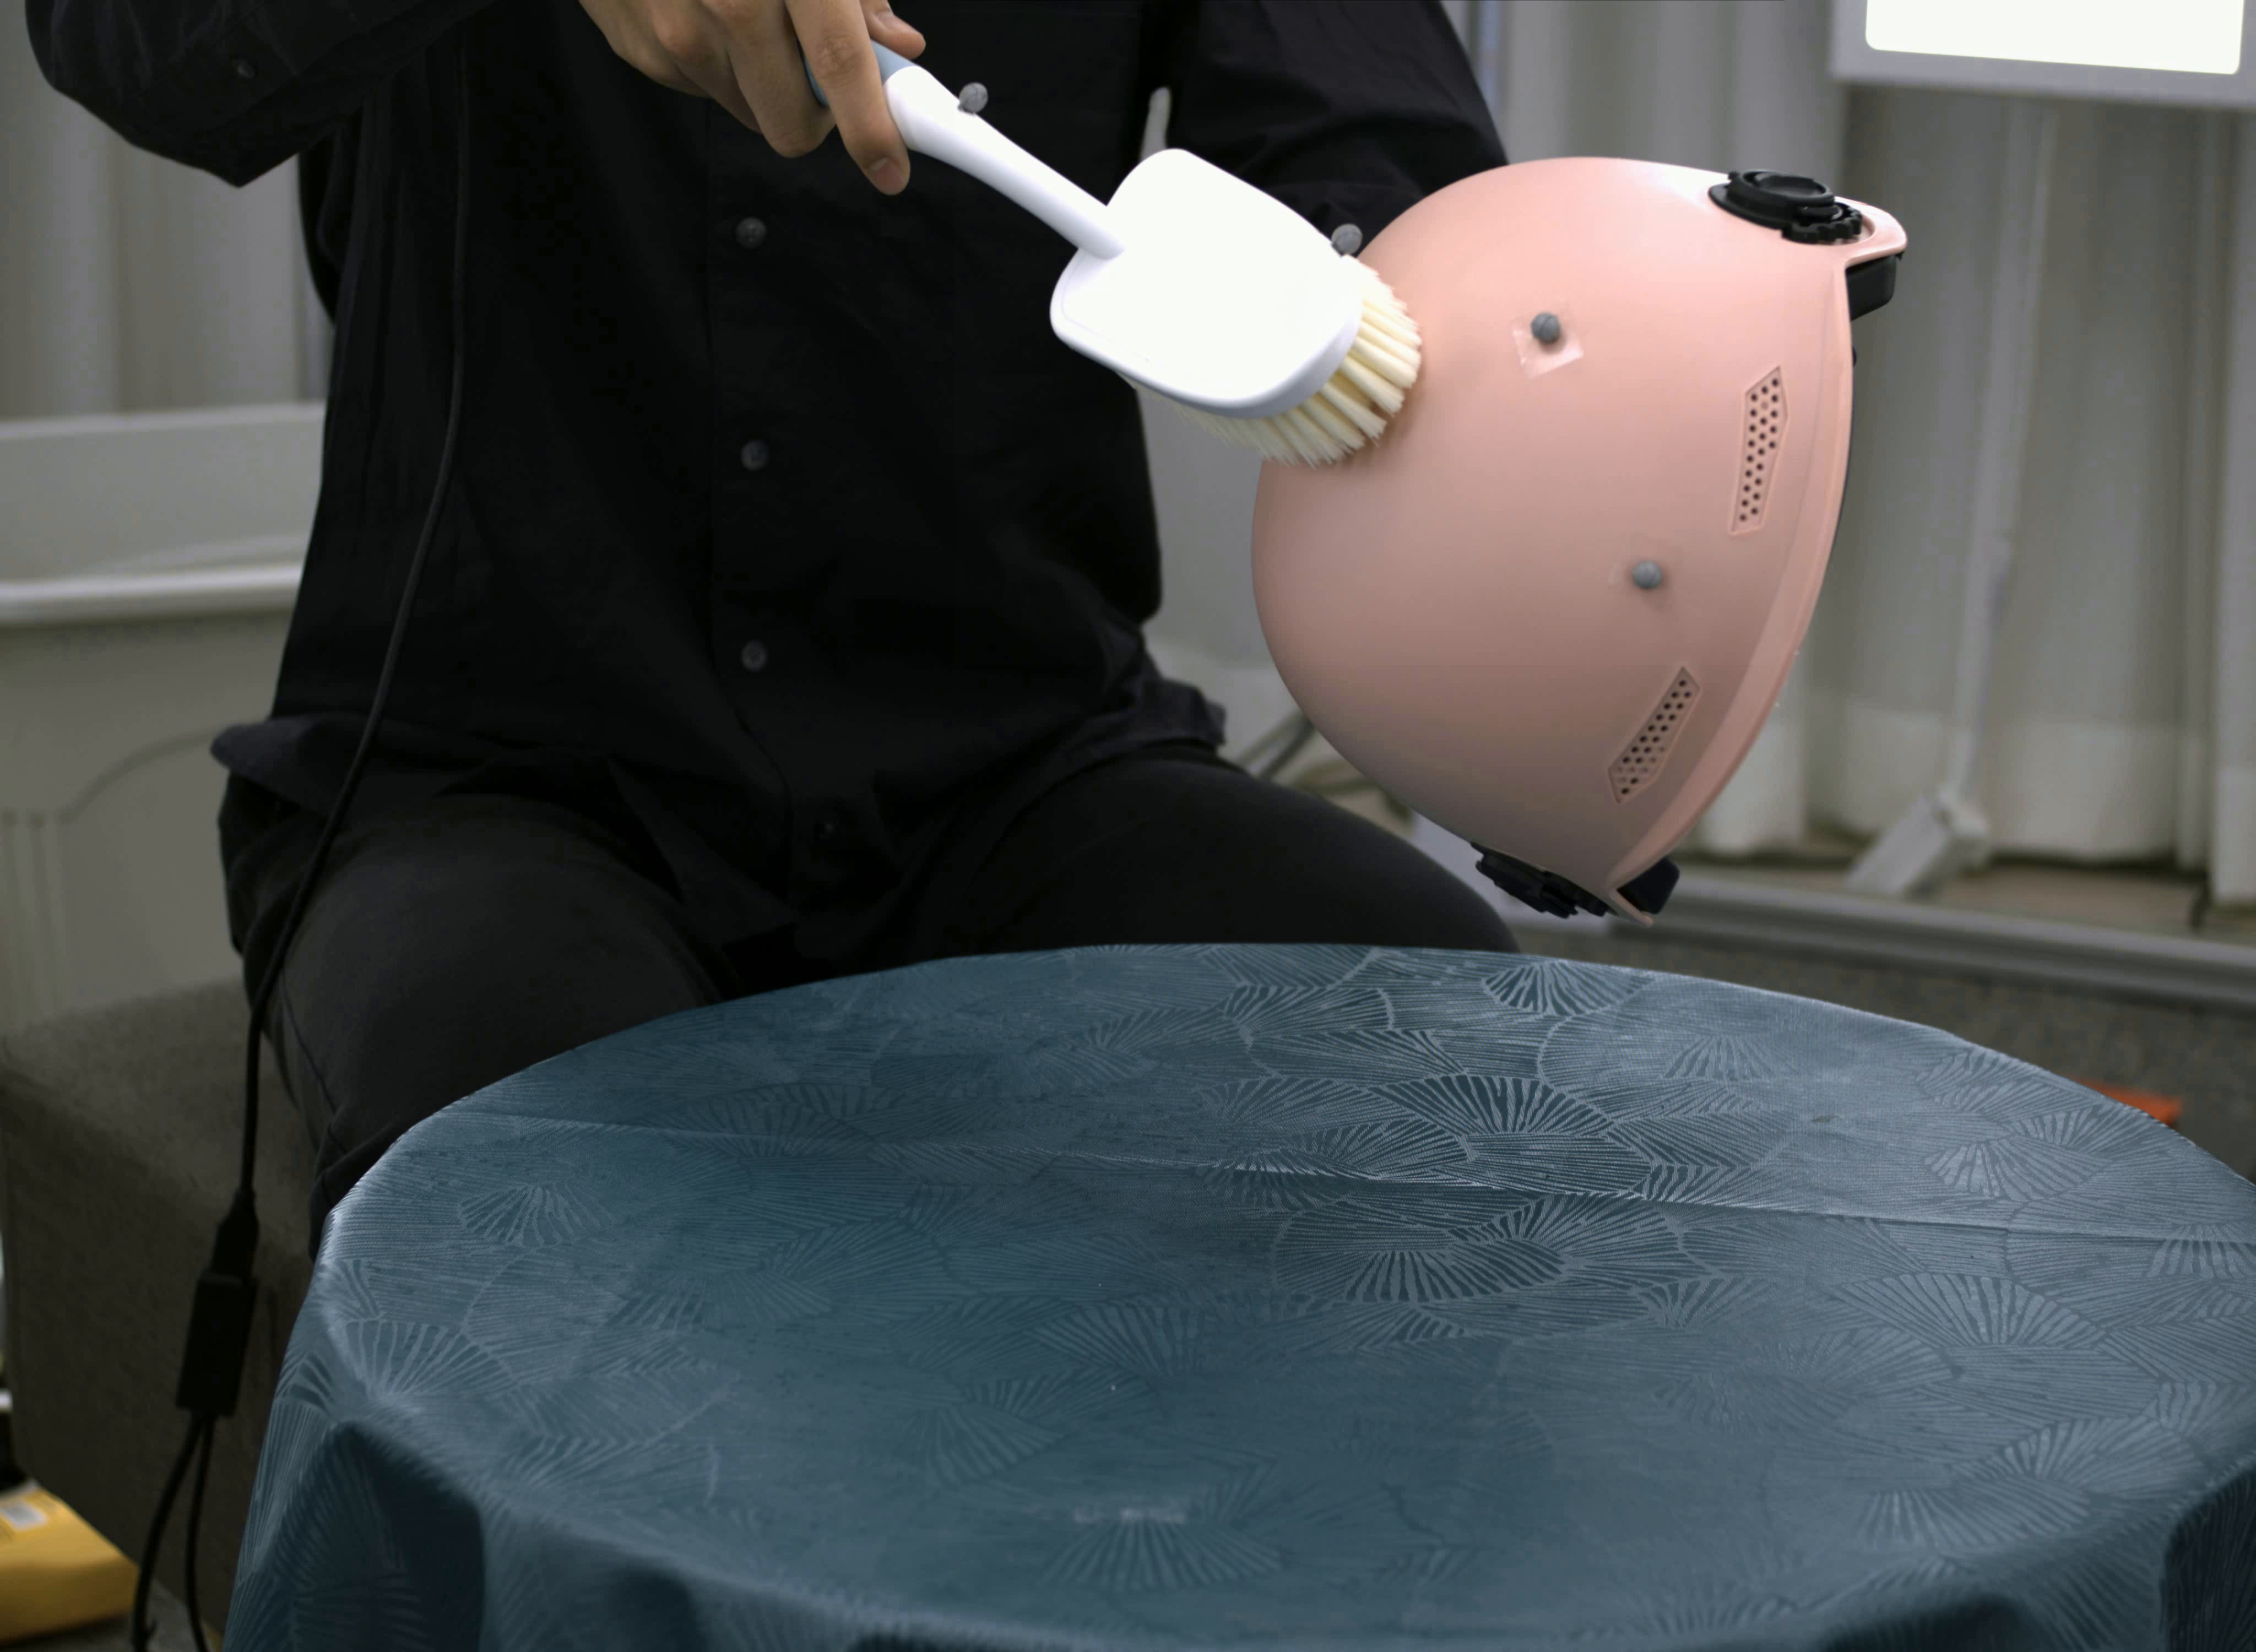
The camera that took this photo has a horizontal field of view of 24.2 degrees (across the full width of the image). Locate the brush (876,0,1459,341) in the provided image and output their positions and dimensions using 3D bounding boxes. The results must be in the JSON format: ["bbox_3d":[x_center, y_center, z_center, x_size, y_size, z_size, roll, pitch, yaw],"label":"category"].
[{"bbox_3d":[-0.014,-0.234,1.627,0.083,0.085,0.321,-35,50,-28],"label":"brush"}]

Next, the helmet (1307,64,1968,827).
[{"bbox_3d":[0.141,-0.132,1.610,0.159,0.235,0.264,20,9,-8],"label":"helmet"}]
